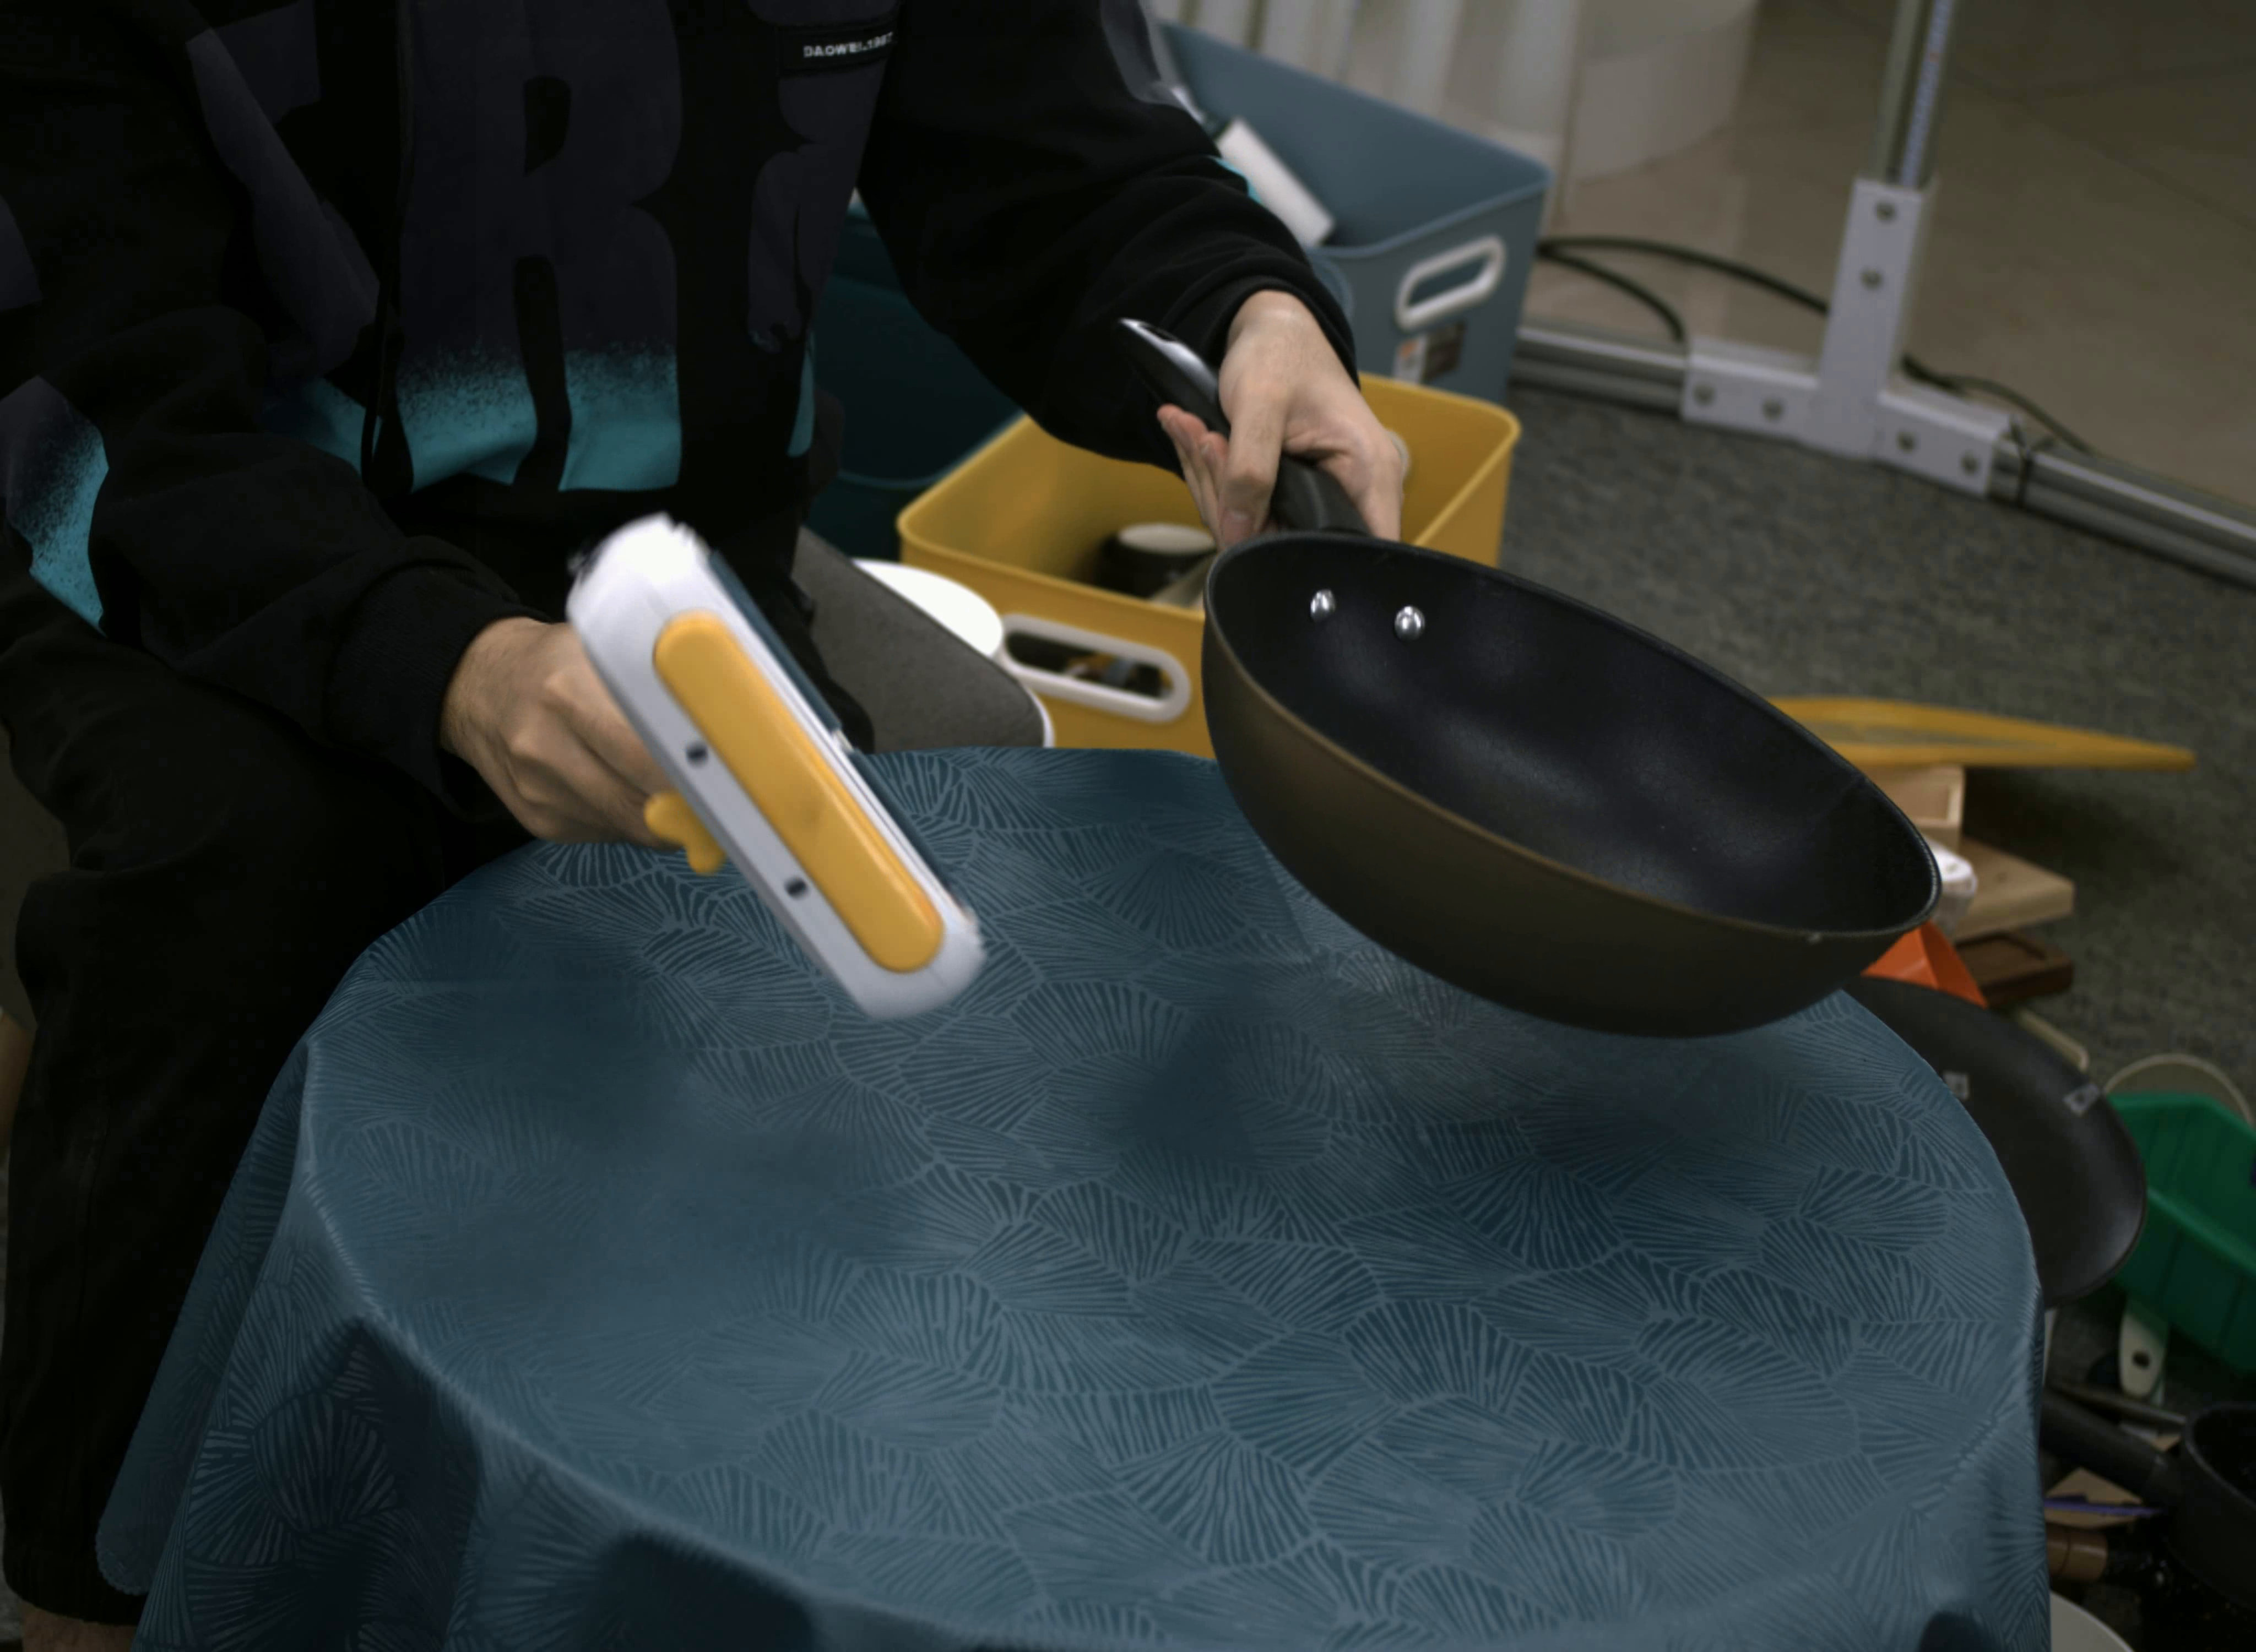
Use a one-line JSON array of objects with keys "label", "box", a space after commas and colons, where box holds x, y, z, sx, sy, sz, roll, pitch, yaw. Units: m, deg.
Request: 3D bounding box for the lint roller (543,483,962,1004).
[{"label": "lint roller", "box": [-0.143, -0.027, 1.811, 0.074, 0.192, 0.193, -40, 14, -8]}]

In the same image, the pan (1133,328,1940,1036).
[{"label": "pan", "box": [0.097, -0.049, 1.932, 0.285, 0.087, 0.468, 8, 25, -36]}]
